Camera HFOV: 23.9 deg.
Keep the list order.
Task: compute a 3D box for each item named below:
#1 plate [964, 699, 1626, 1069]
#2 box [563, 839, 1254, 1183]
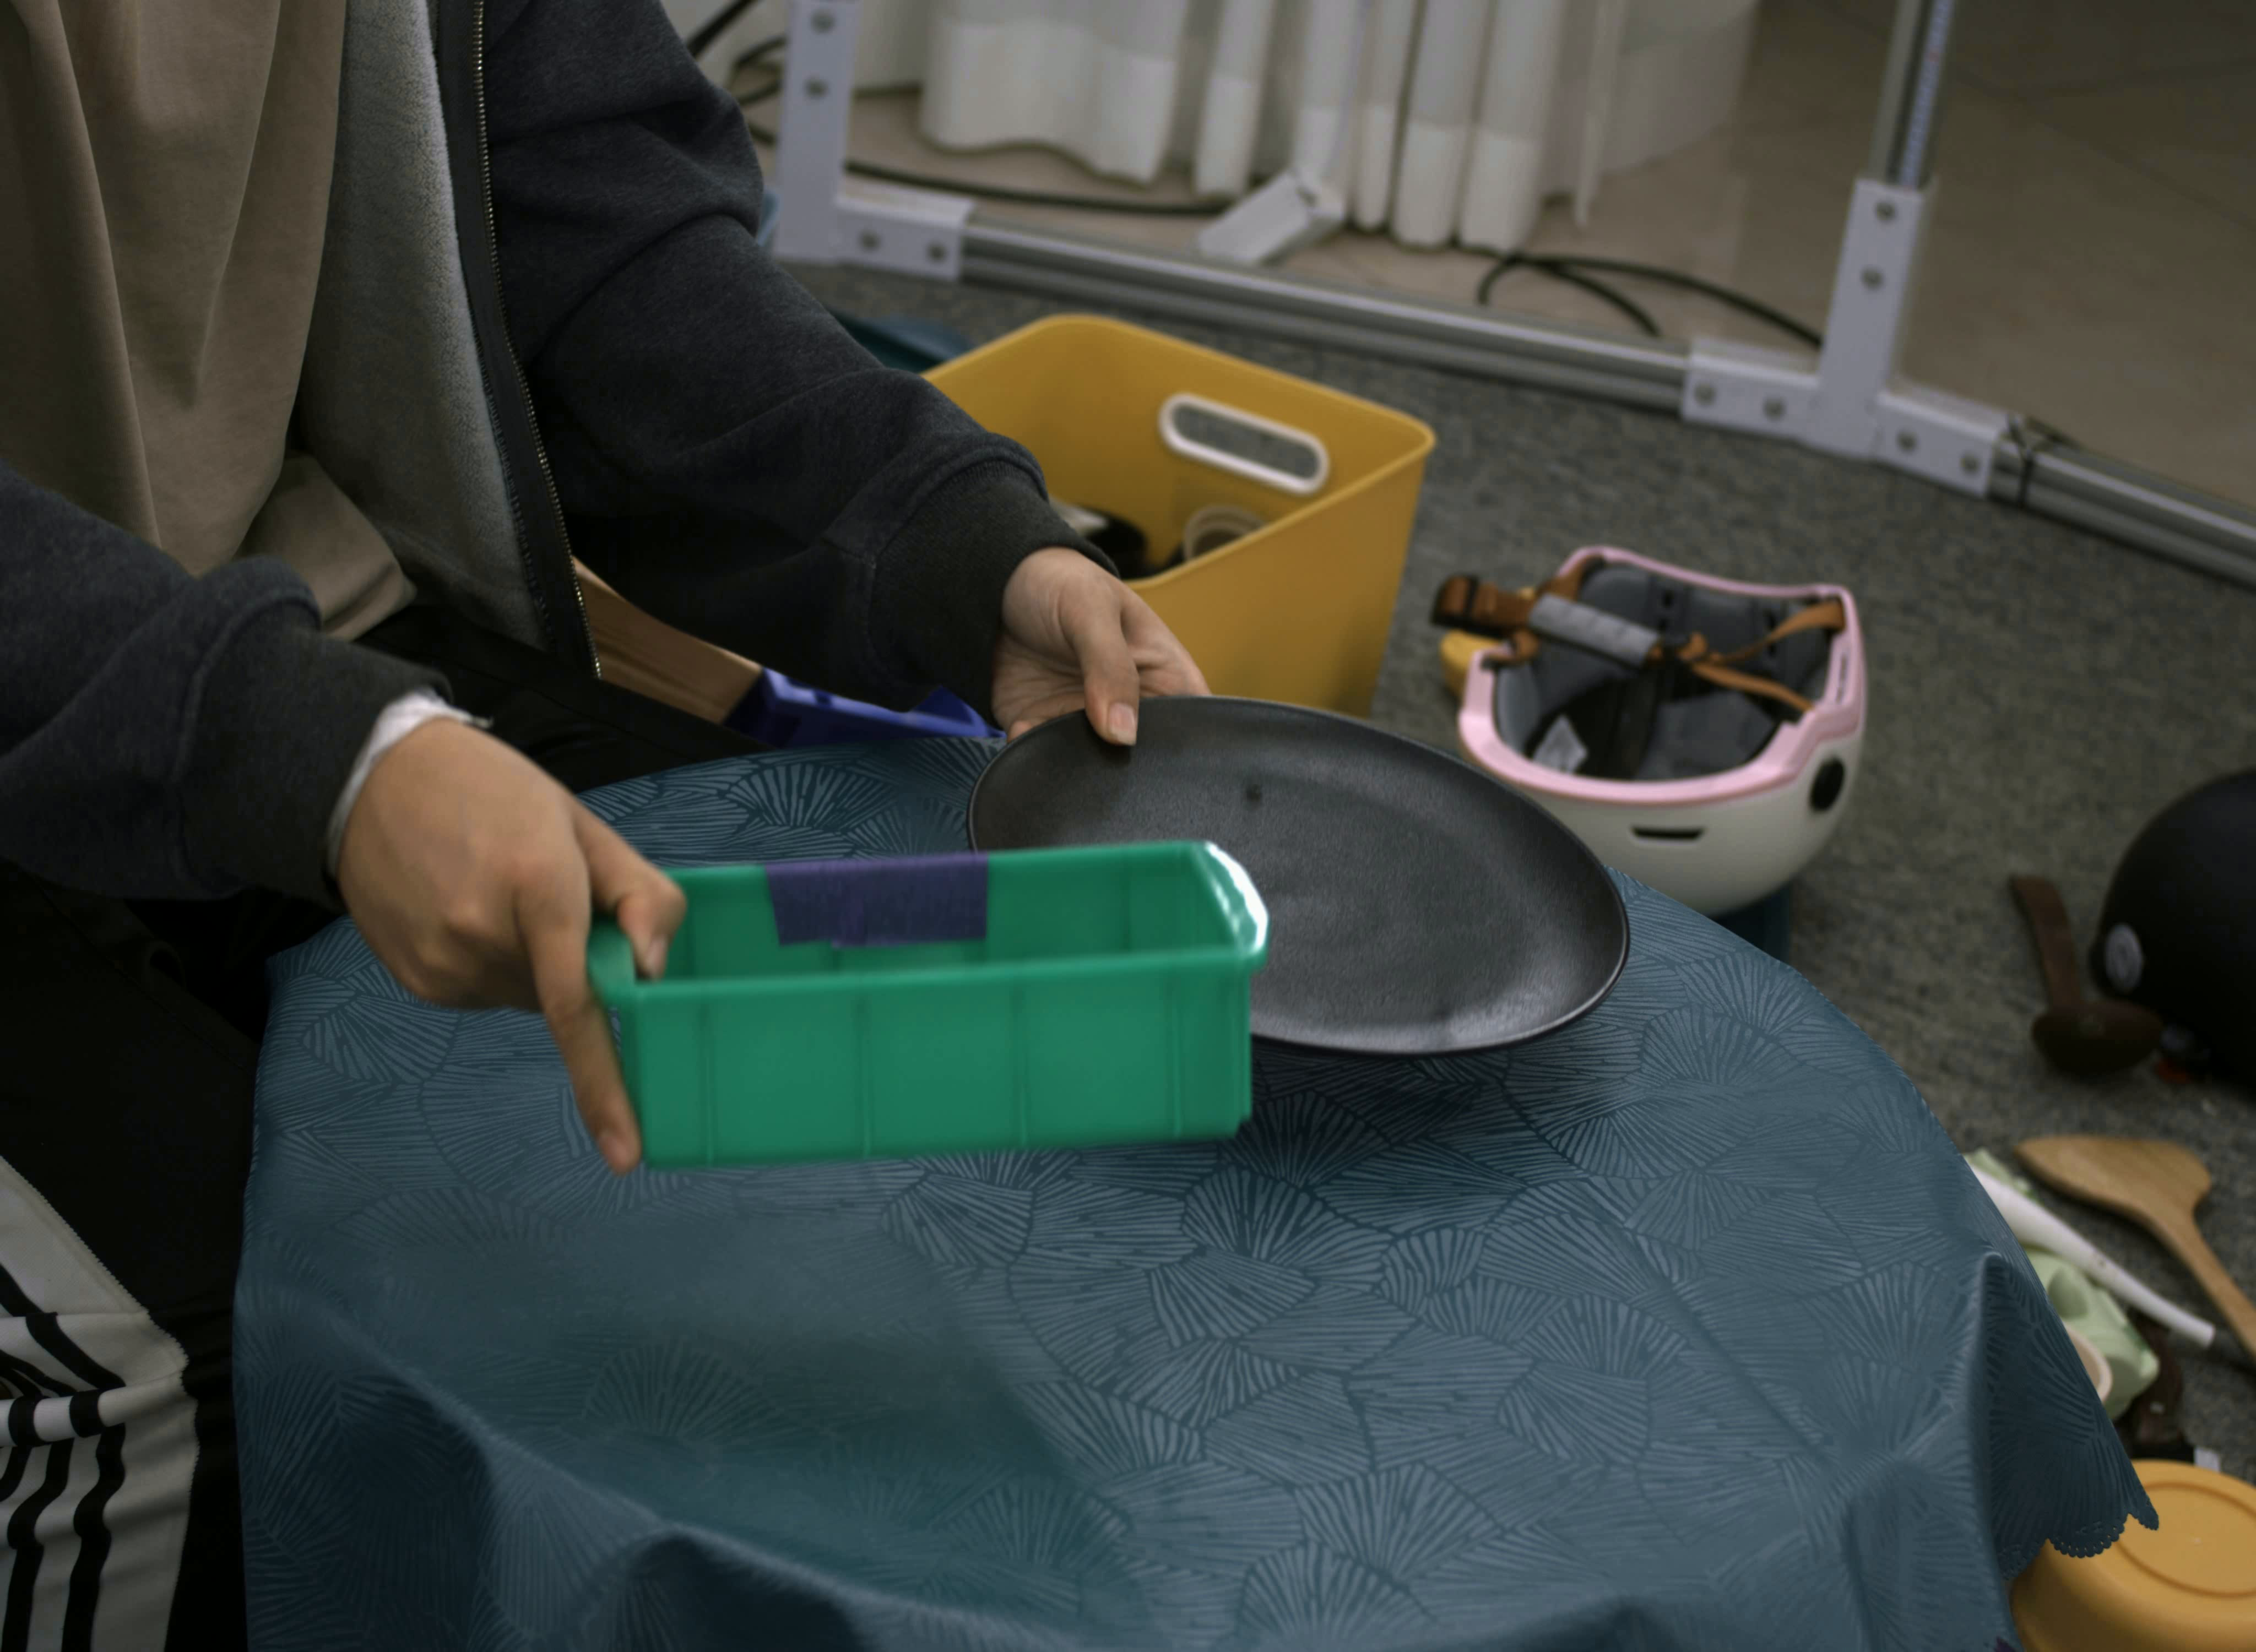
[{"bbox_3d":[0.059,0.025,1.915,0.243,0.023,0.246,9,30,-6],"label":"plate"},{"bbox_3d":[-0.067,0.057,1.641,0.209,0.065,0.139,-5,14,-6],"label":"box"}]
